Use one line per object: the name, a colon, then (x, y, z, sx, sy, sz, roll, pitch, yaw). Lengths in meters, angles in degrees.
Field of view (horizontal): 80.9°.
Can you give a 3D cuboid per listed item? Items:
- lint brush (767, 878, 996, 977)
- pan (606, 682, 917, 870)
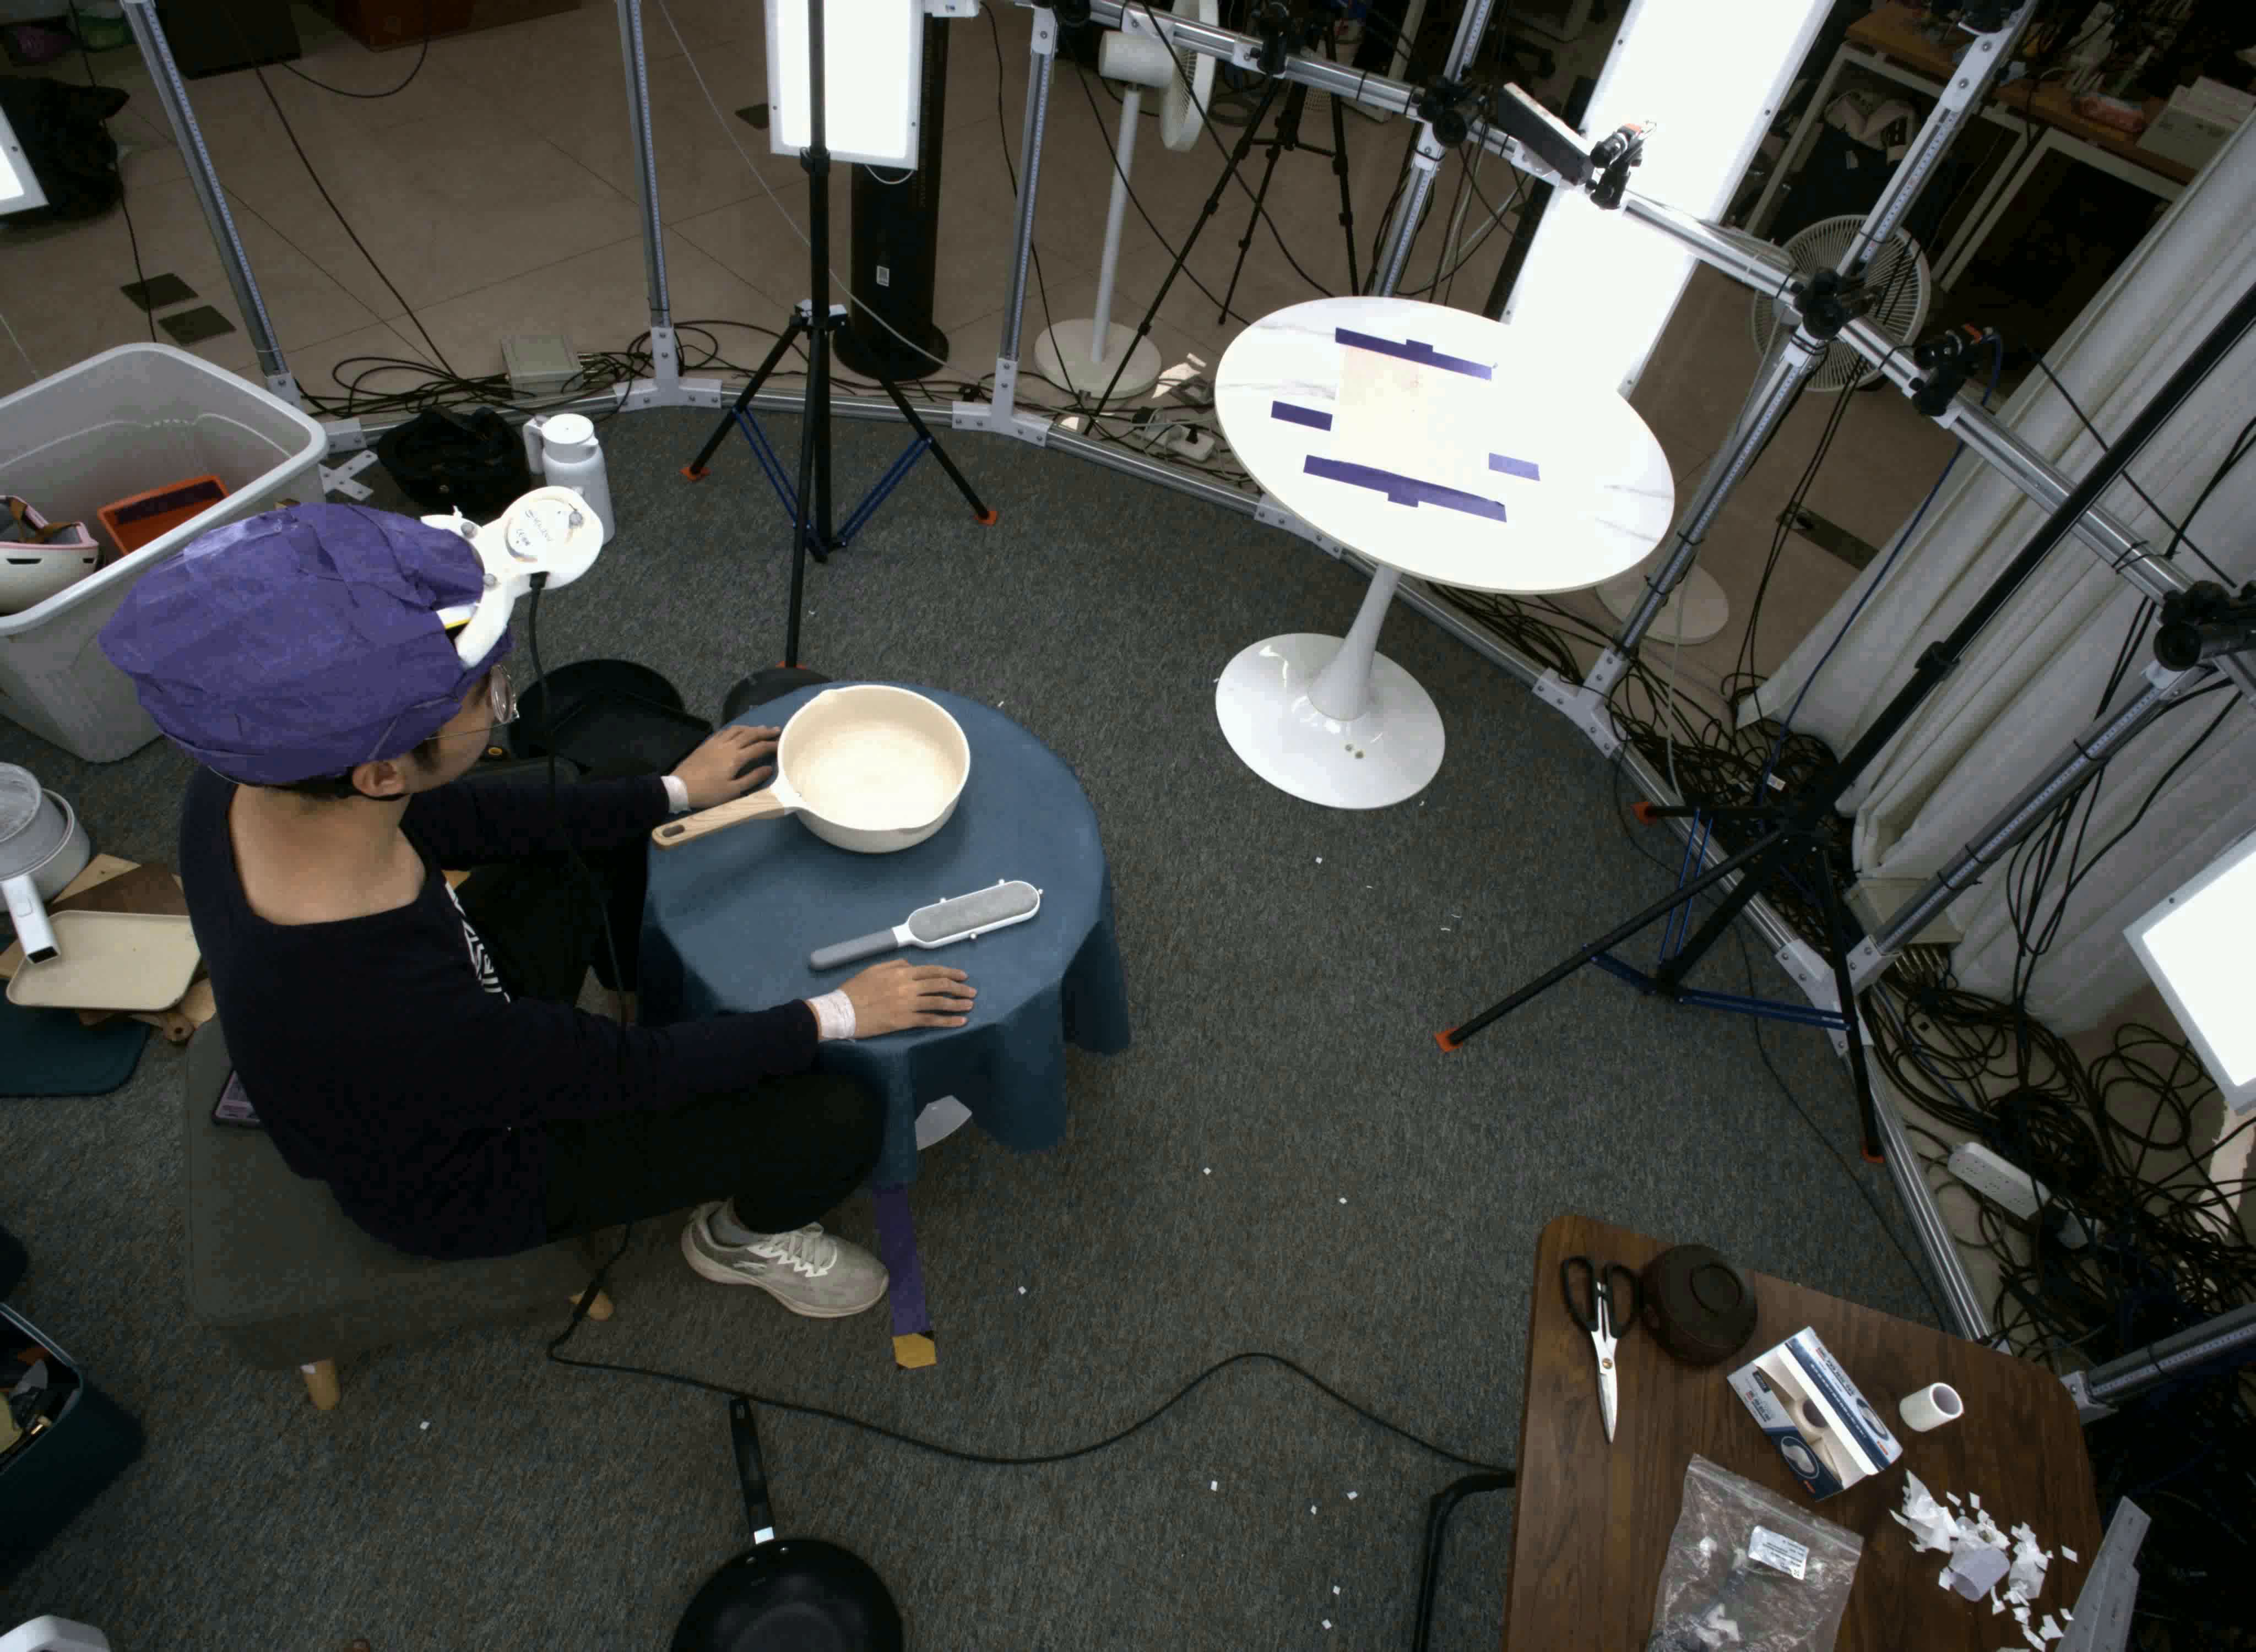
lint brush: (-0.309, 0.128, 1.652, 0.310, 0.021, 0.059, -19, 65, -26)
pan: (-0.476, -0.033, 1.683, 0.436, 0.104, 0.258, -31, 68, -31)
